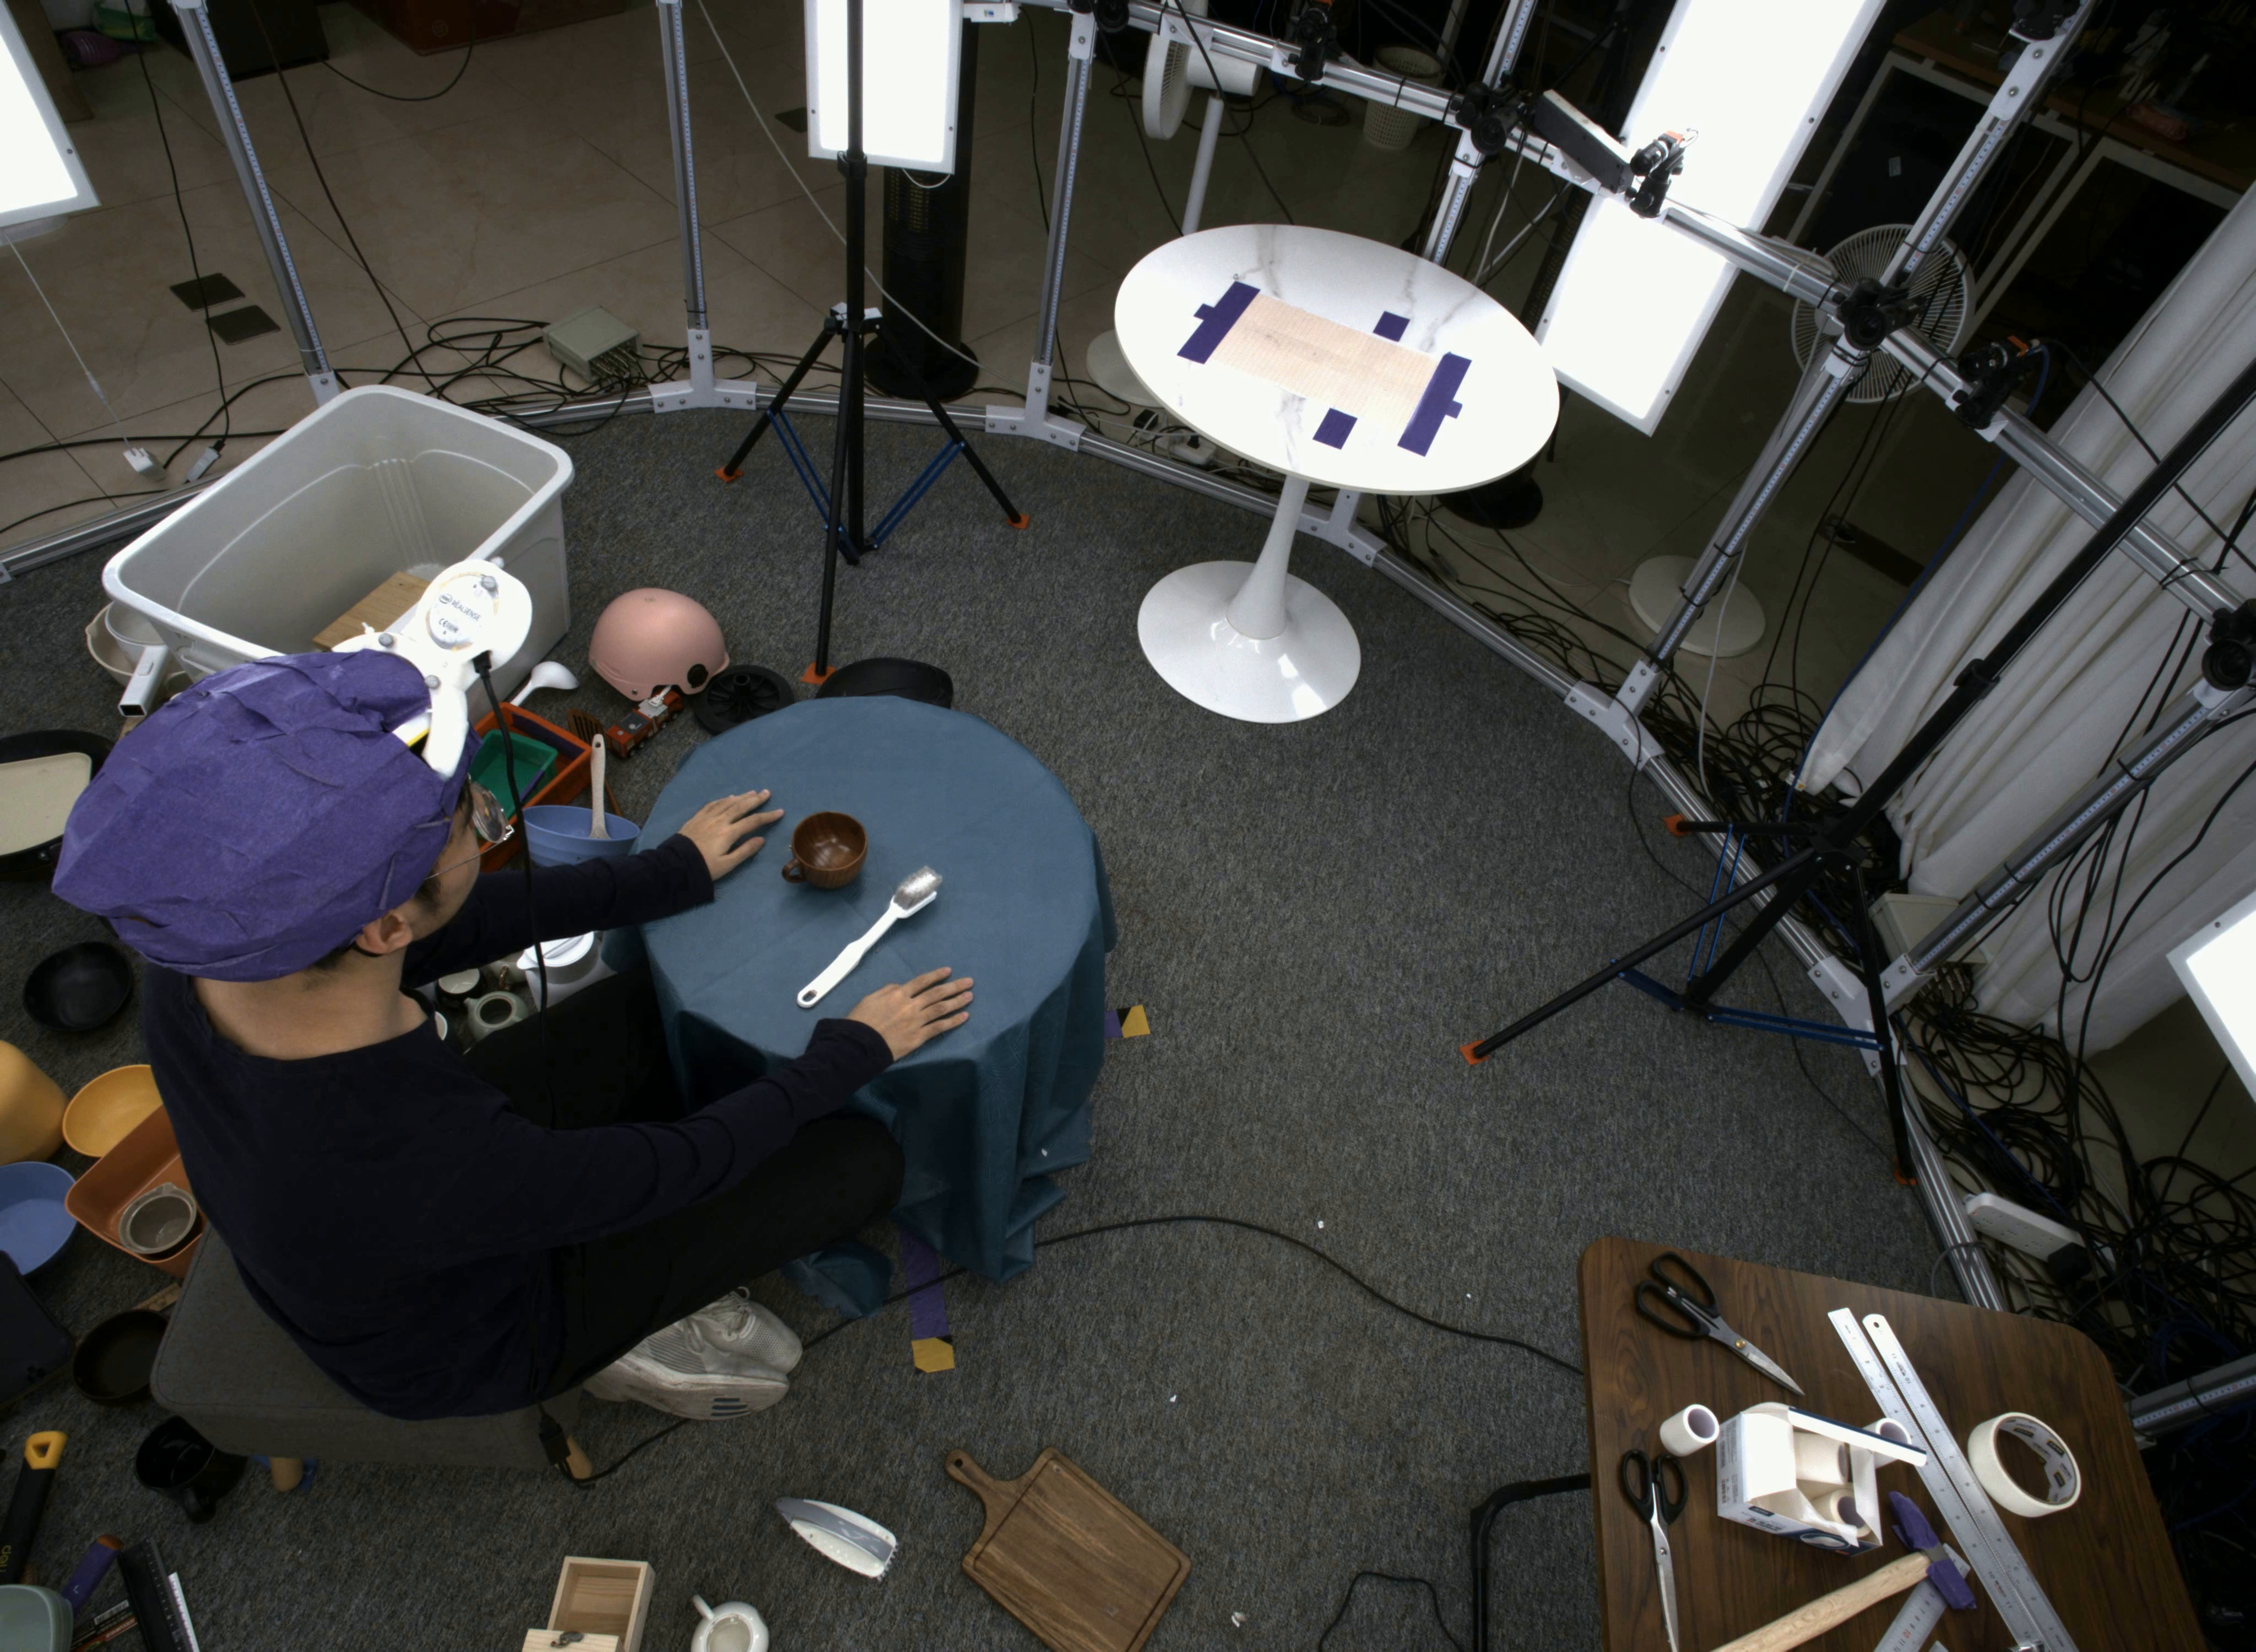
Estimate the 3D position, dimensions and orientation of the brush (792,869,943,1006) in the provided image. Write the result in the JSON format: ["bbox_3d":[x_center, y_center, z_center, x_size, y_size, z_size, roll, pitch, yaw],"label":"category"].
[{"bbox_3d":[-0.324,0.133,1.621,0.034,0.051,0.244,40,55,13],"label":"brush"}]

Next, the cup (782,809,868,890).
[{"bbox_3d":[-0.393,0.040,1.658,0.094,0.069,0.120,44,54,17],"label":"cup"}]
